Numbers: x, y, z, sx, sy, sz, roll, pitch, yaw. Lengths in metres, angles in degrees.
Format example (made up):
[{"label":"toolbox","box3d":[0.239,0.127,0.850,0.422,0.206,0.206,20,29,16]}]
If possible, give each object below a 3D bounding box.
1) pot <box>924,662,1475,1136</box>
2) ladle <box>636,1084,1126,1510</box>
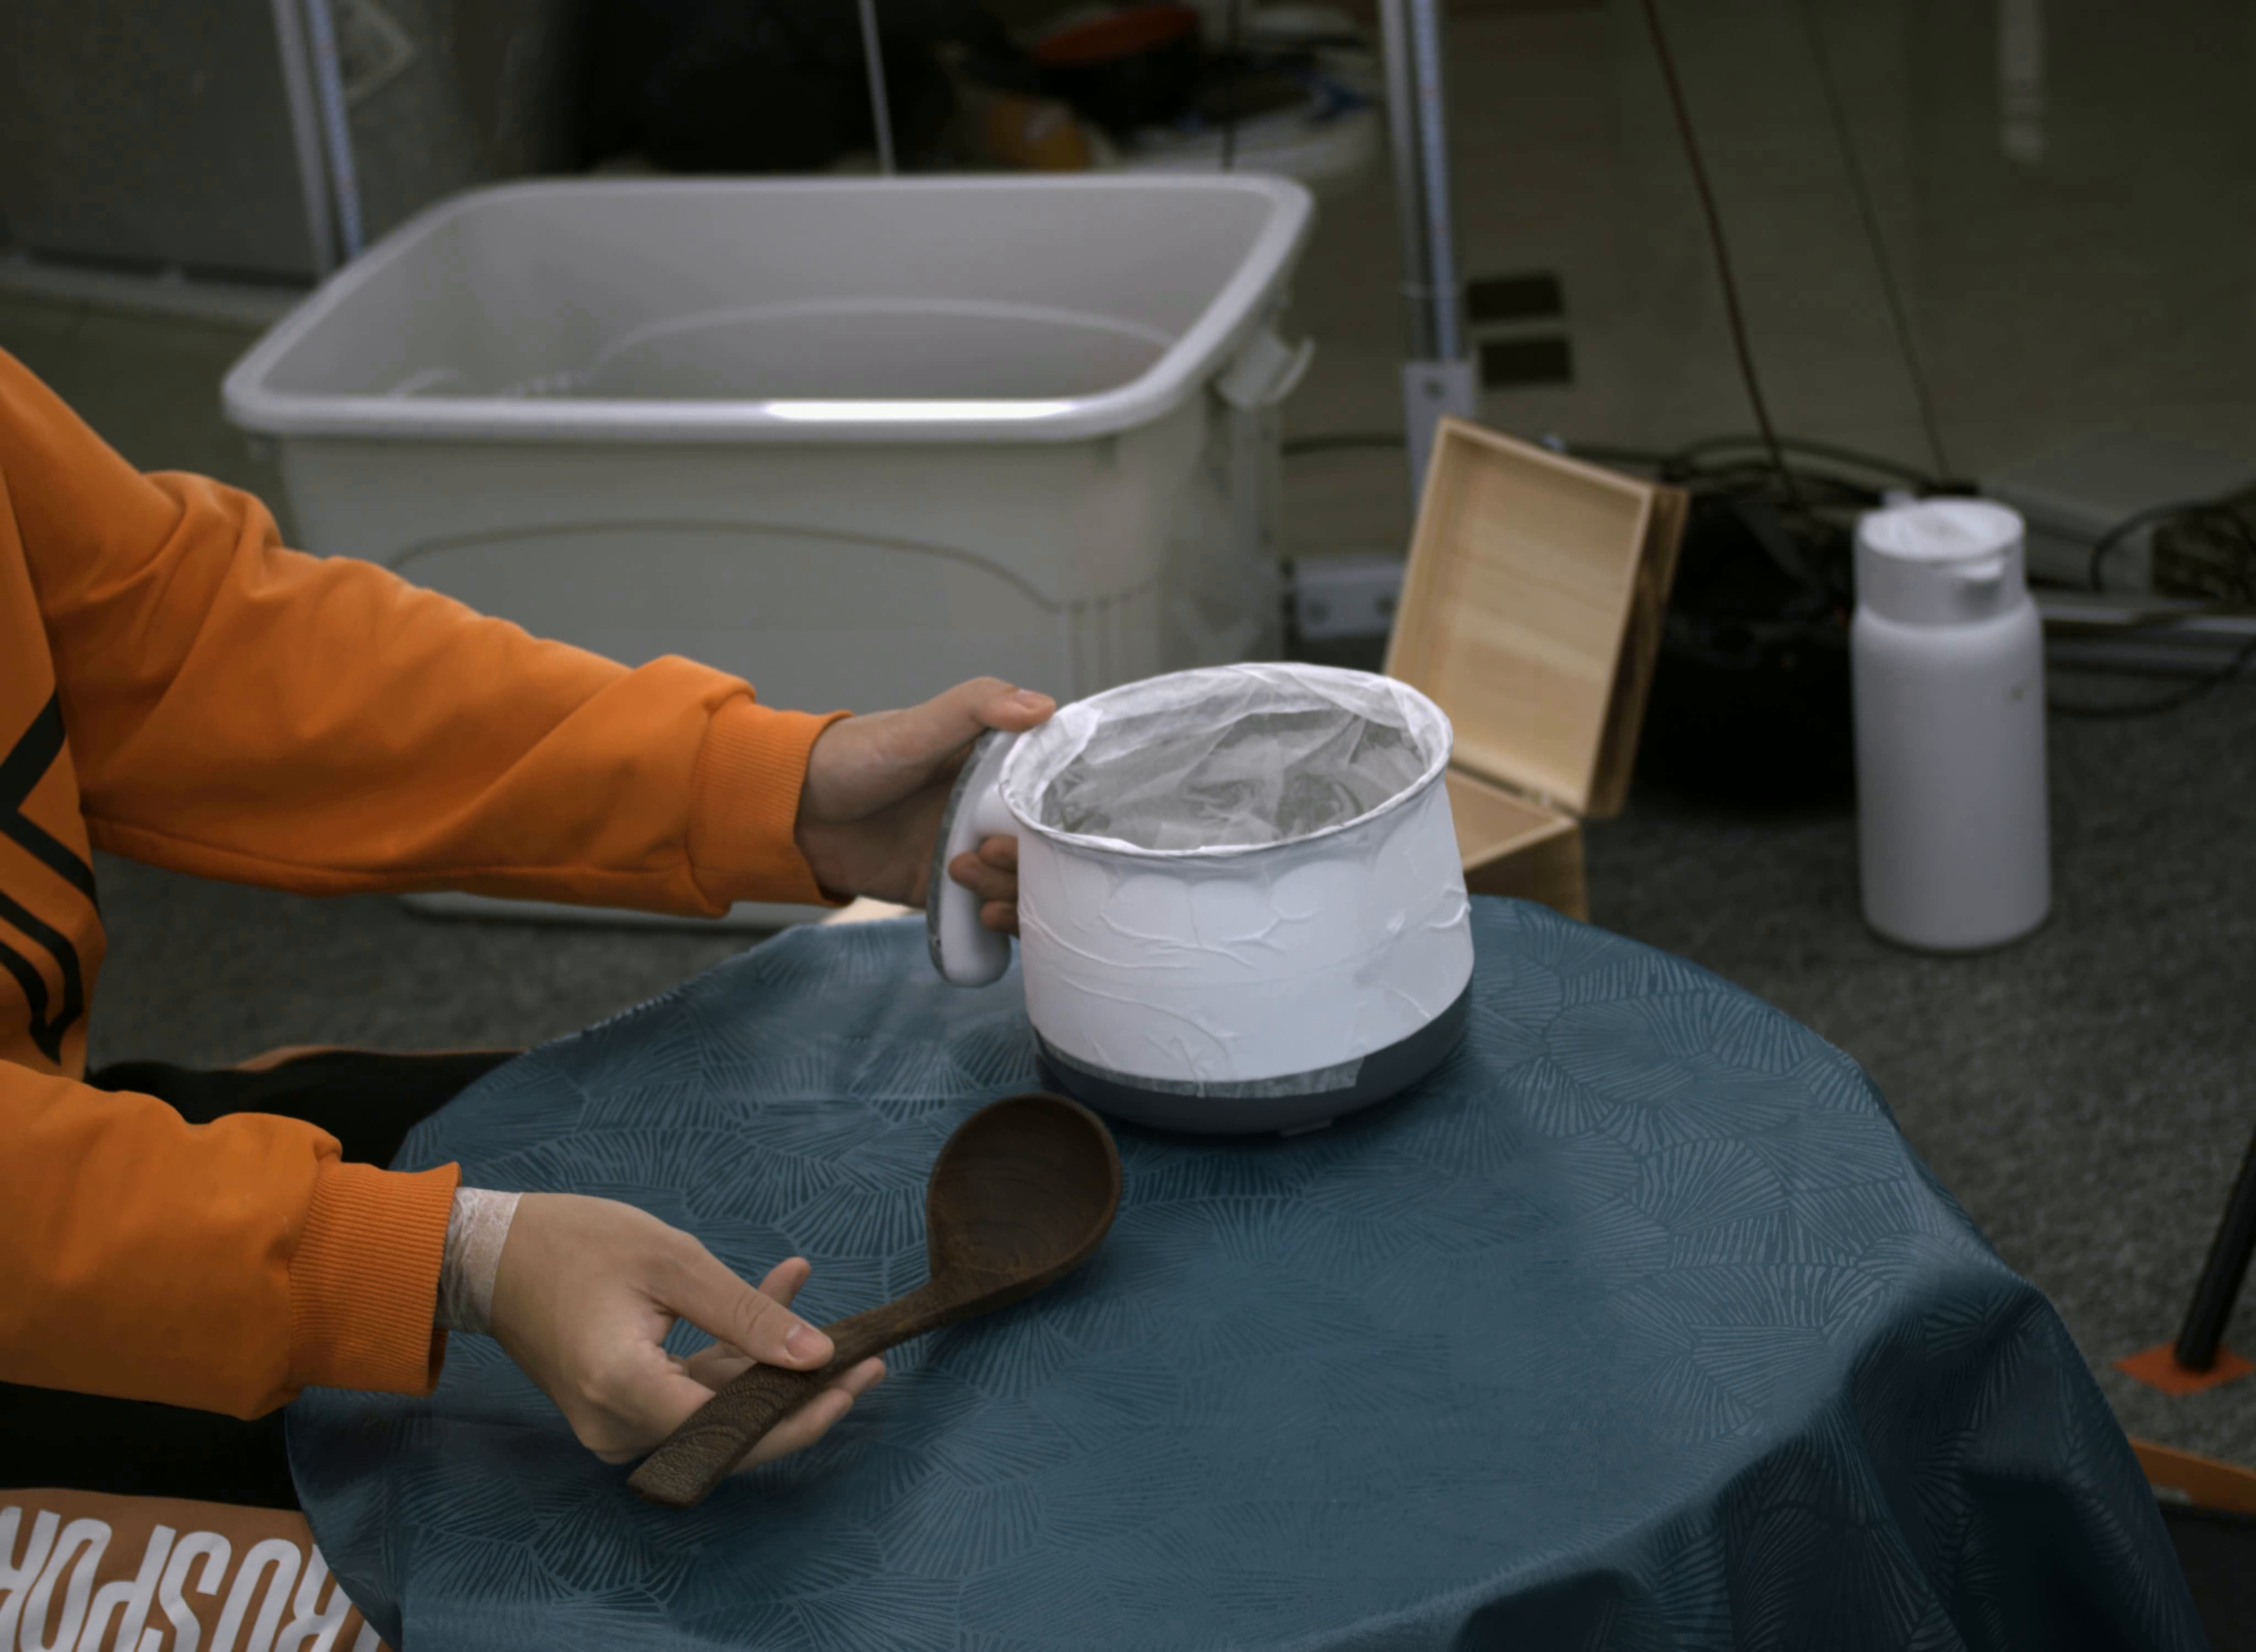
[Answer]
[{"label":"pot","box3d":[0.020,0.027,2.216,0.233,0.139,0.176,8,28,28]},{"label":"ladle","box3d":[-0.089,0.161,2.002,0.075,0.072,0.272,14,21,26]}]
